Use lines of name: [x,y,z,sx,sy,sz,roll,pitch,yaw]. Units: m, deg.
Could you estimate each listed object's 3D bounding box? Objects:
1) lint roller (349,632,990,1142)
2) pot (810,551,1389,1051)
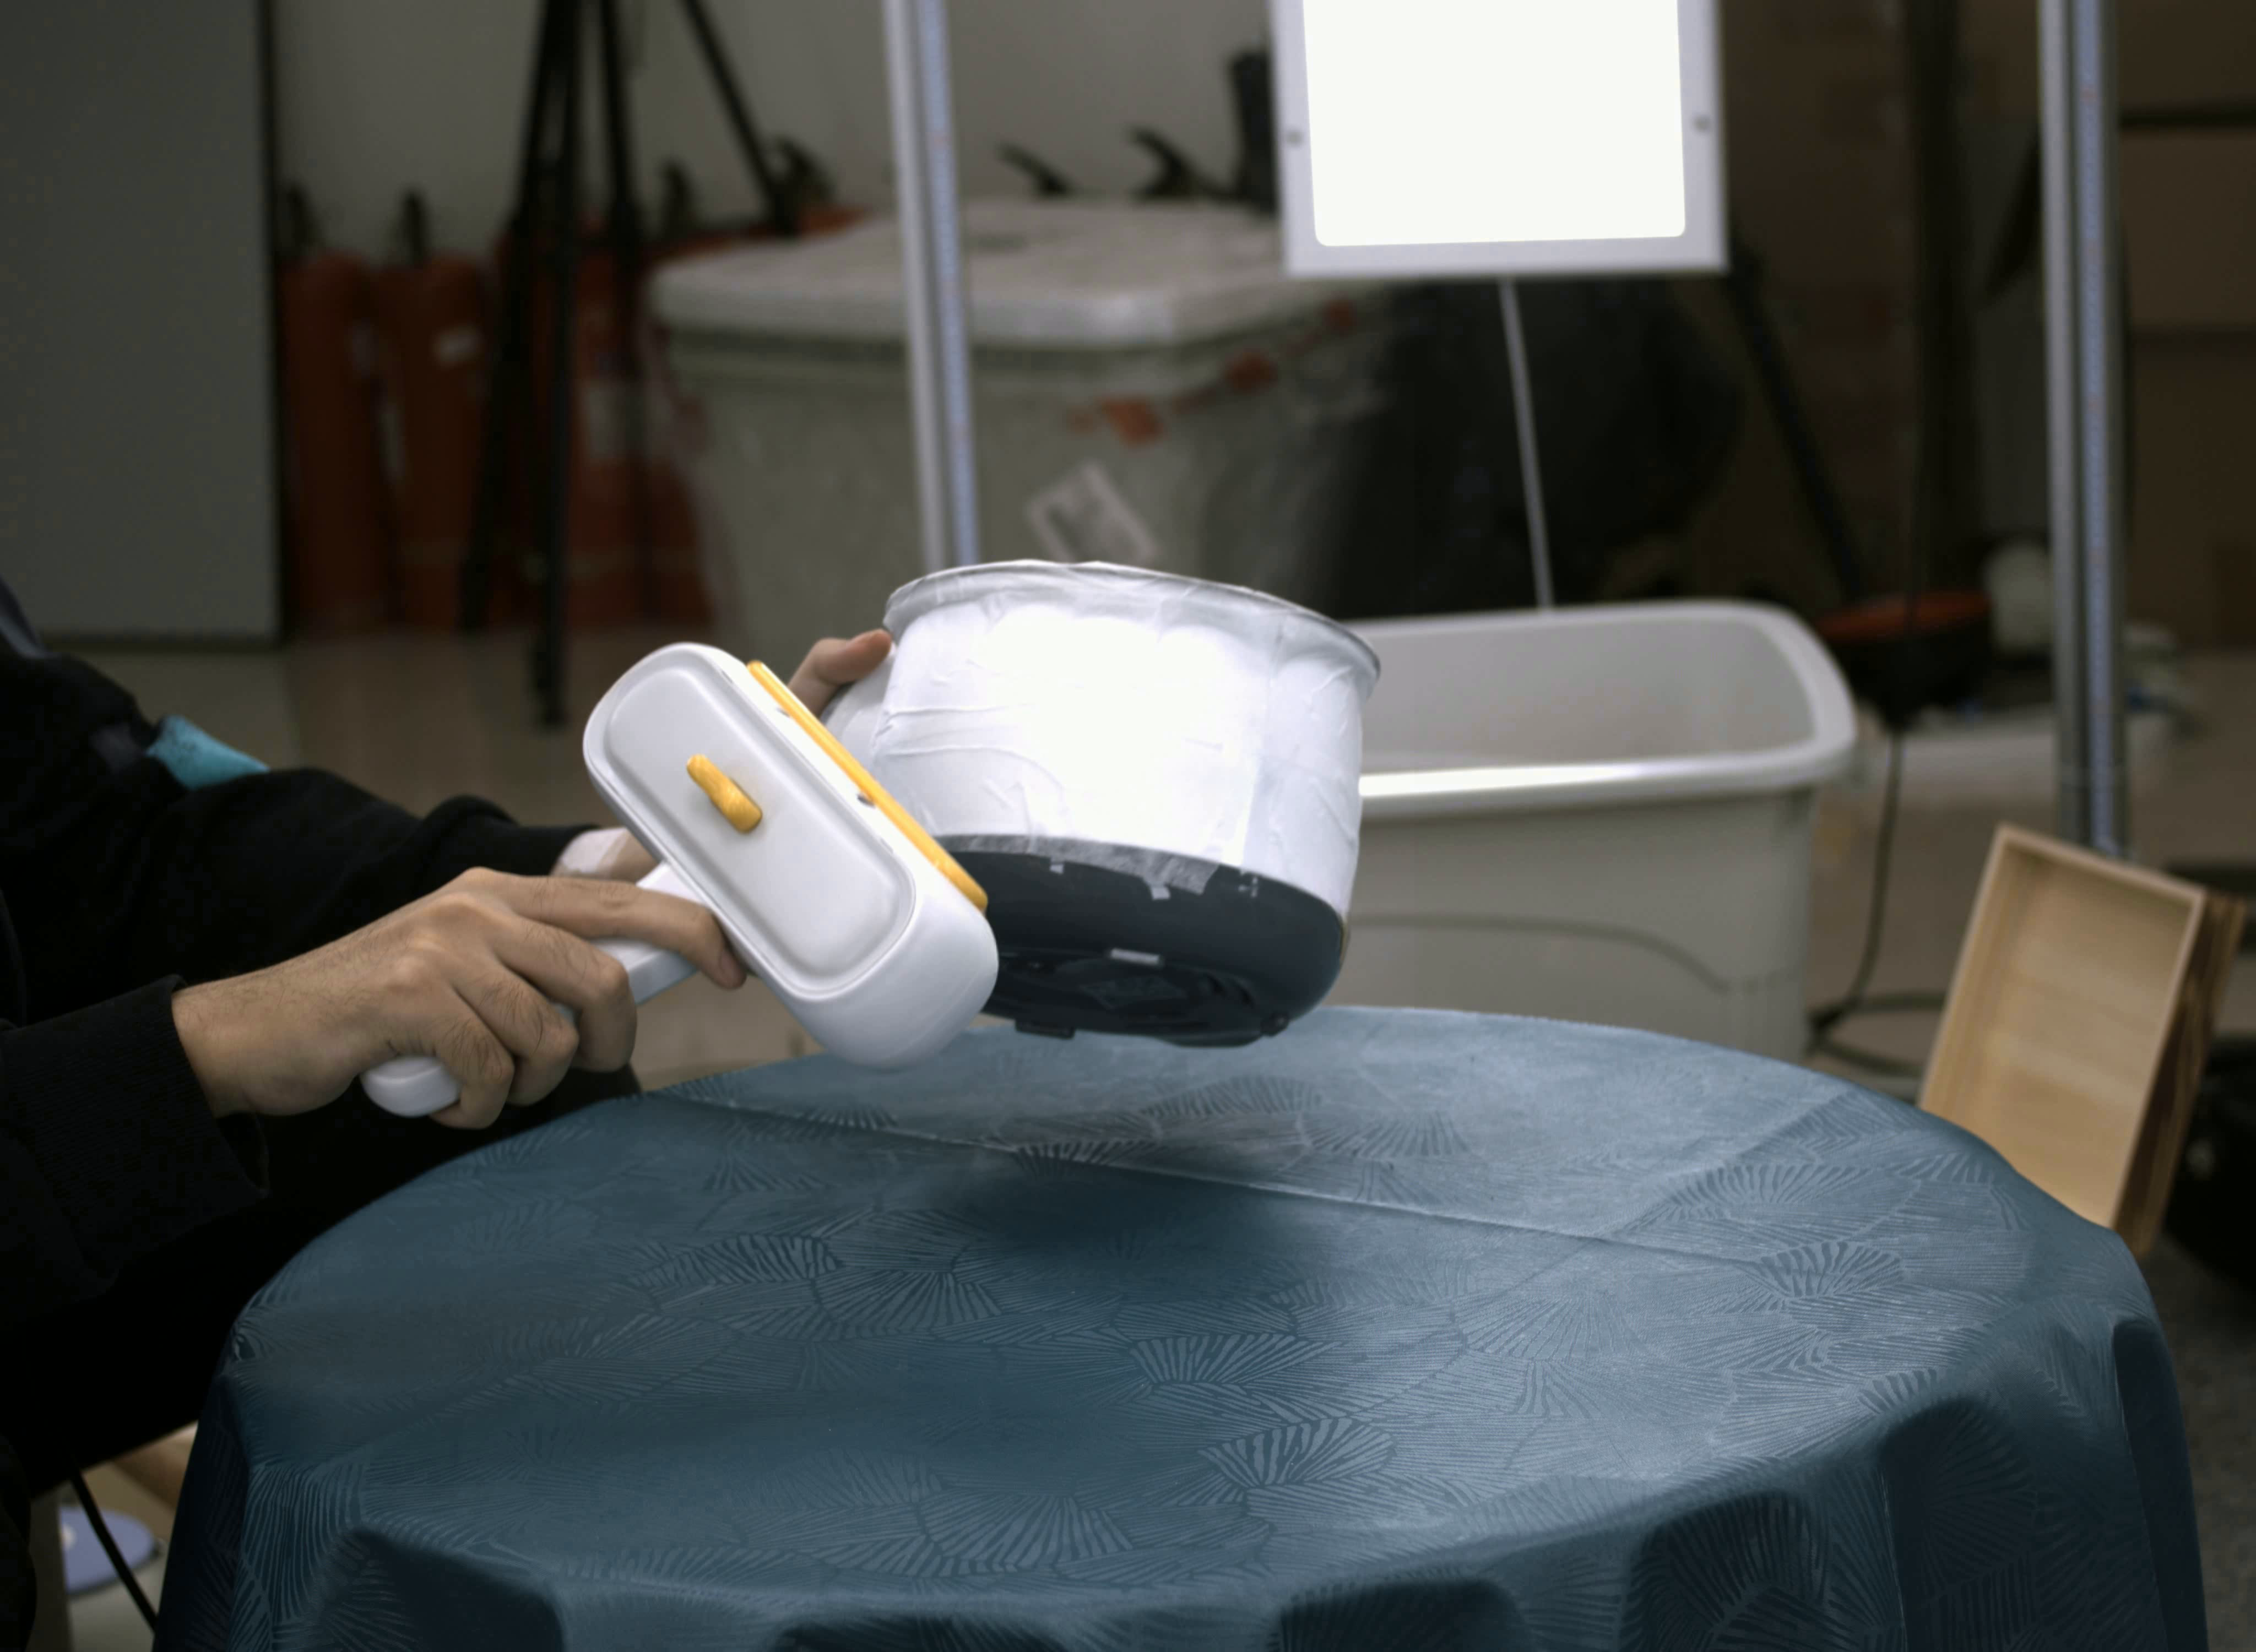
lint roller: [-0.161,0.038,1.759,0.191,0.073,0.195,-41,50,-8]
pot: [-0.028,-0.006,1.939,0.238,0.136,0.175,-1,-18,33]
